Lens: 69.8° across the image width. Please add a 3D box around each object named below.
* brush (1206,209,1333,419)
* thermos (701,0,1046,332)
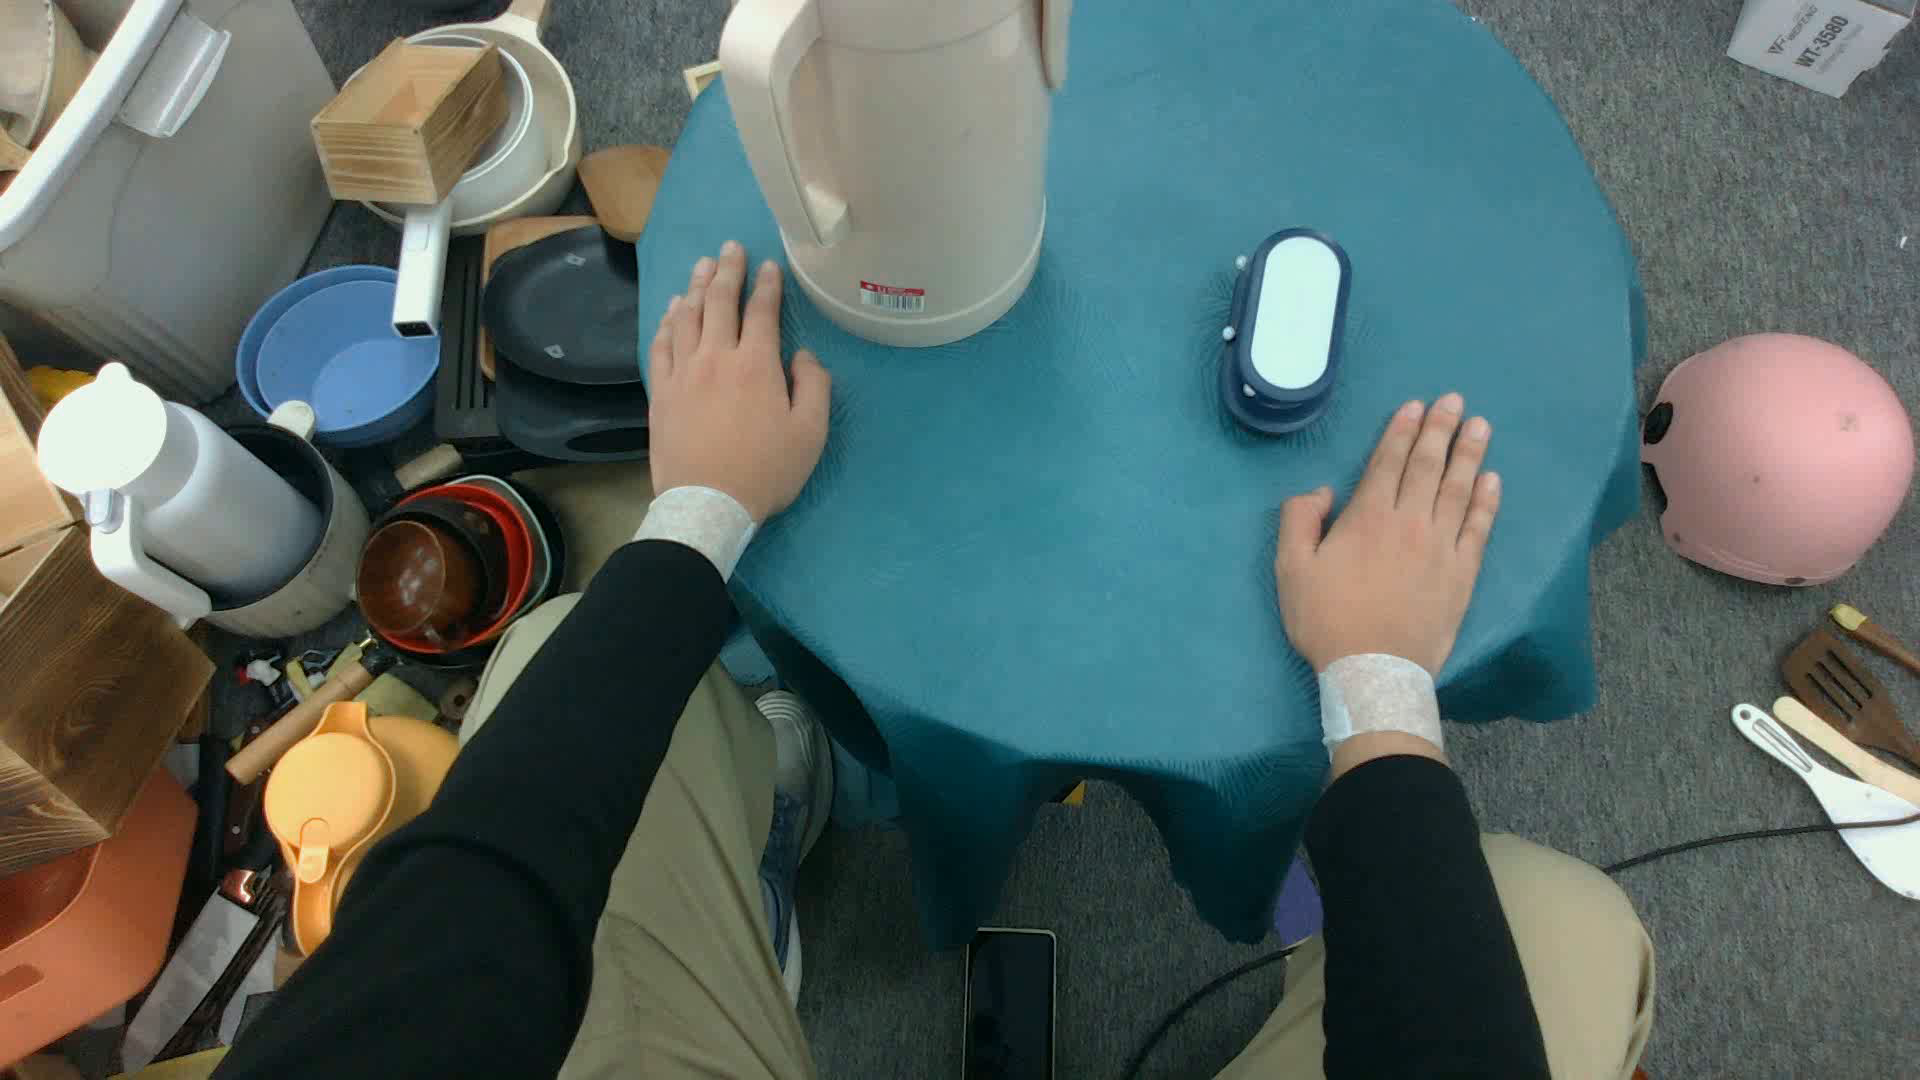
[{"bbox_3d":[0.179,-0.129,0.795,0.068,0.061,0.122,12,70,7],"label":"brush"},{"bbox_3d":[-0.048,-0.251,0.655,0.175,0.405,0.207,27,72,7],"label":"thermos"}]
